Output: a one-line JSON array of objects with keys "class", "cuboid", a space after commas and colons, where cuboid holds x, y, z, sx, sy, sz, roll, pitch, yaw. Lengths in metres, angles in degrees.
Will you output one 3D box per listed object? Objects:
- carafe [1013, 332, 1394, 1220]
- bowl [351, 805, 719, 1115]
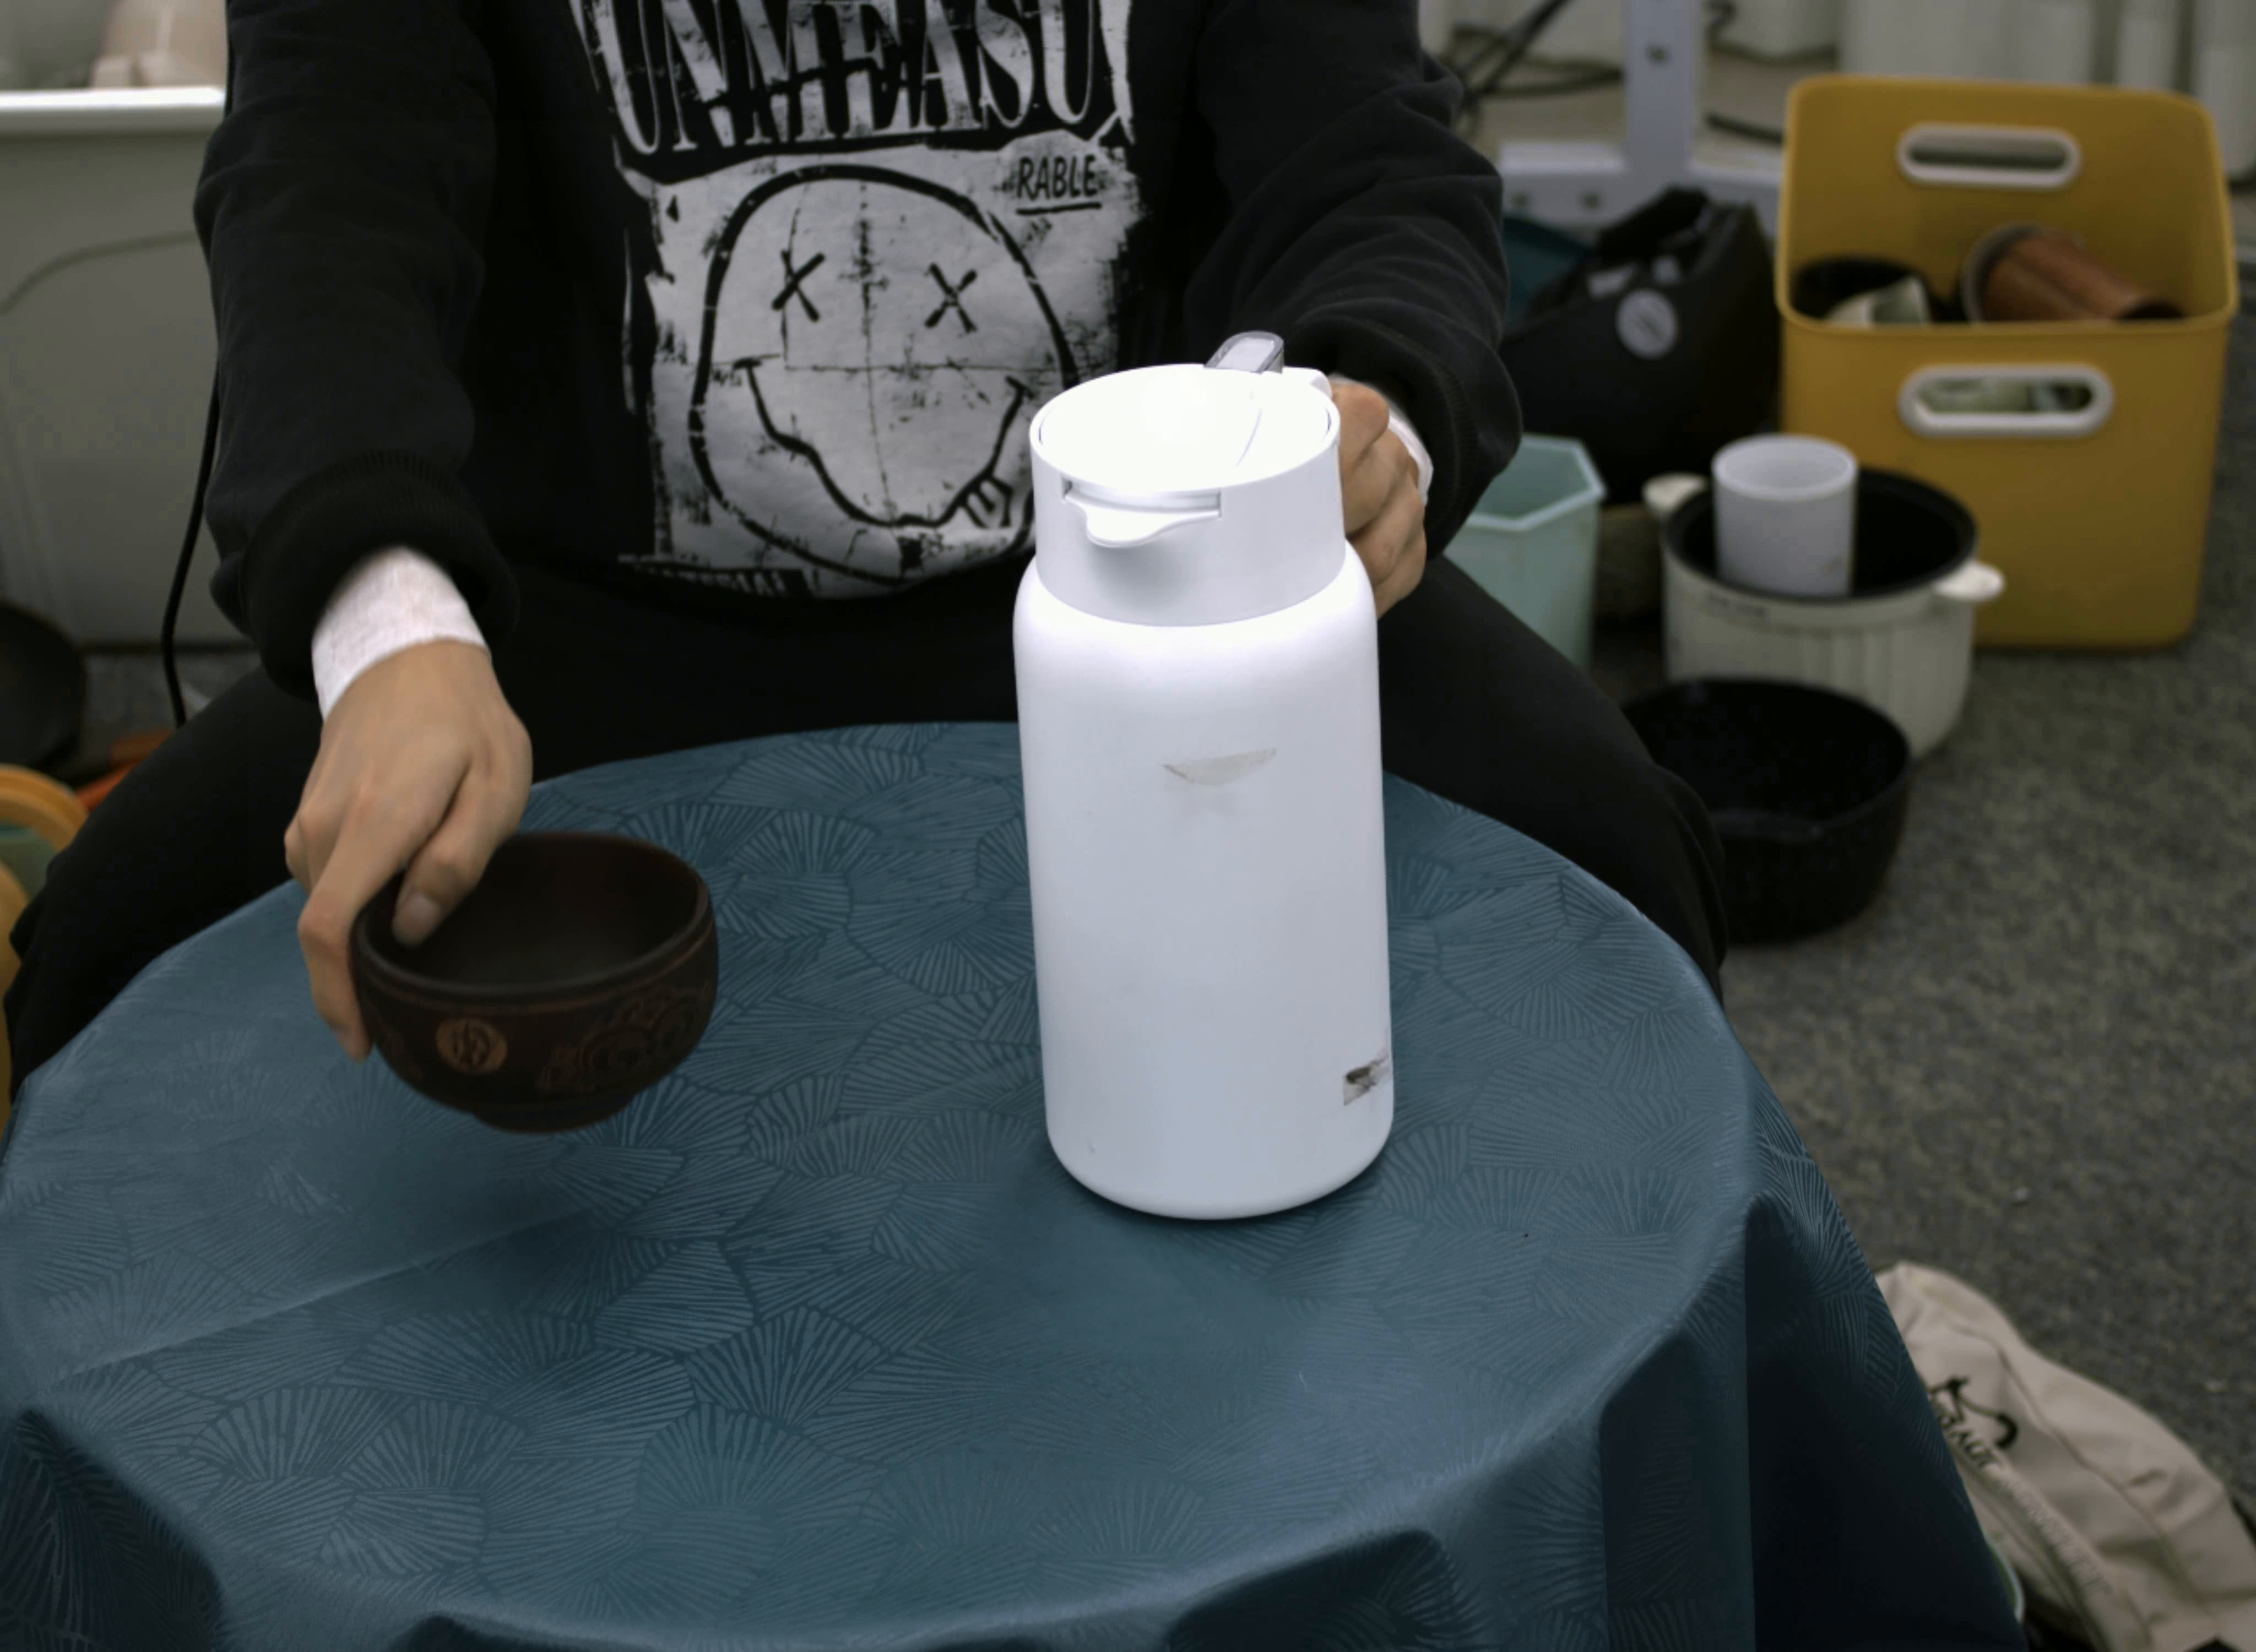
[{"class": "carafe", "cuboid": [0.029, -0.020, 1.843, 0.123, 0.266, 0.176, 4, 27, 19]}, {"class": "bowl", "cuboid": [-0.190, 0.050, 1.818, 0.117, 0.069, 0.120, -2, 27, 1]}]
